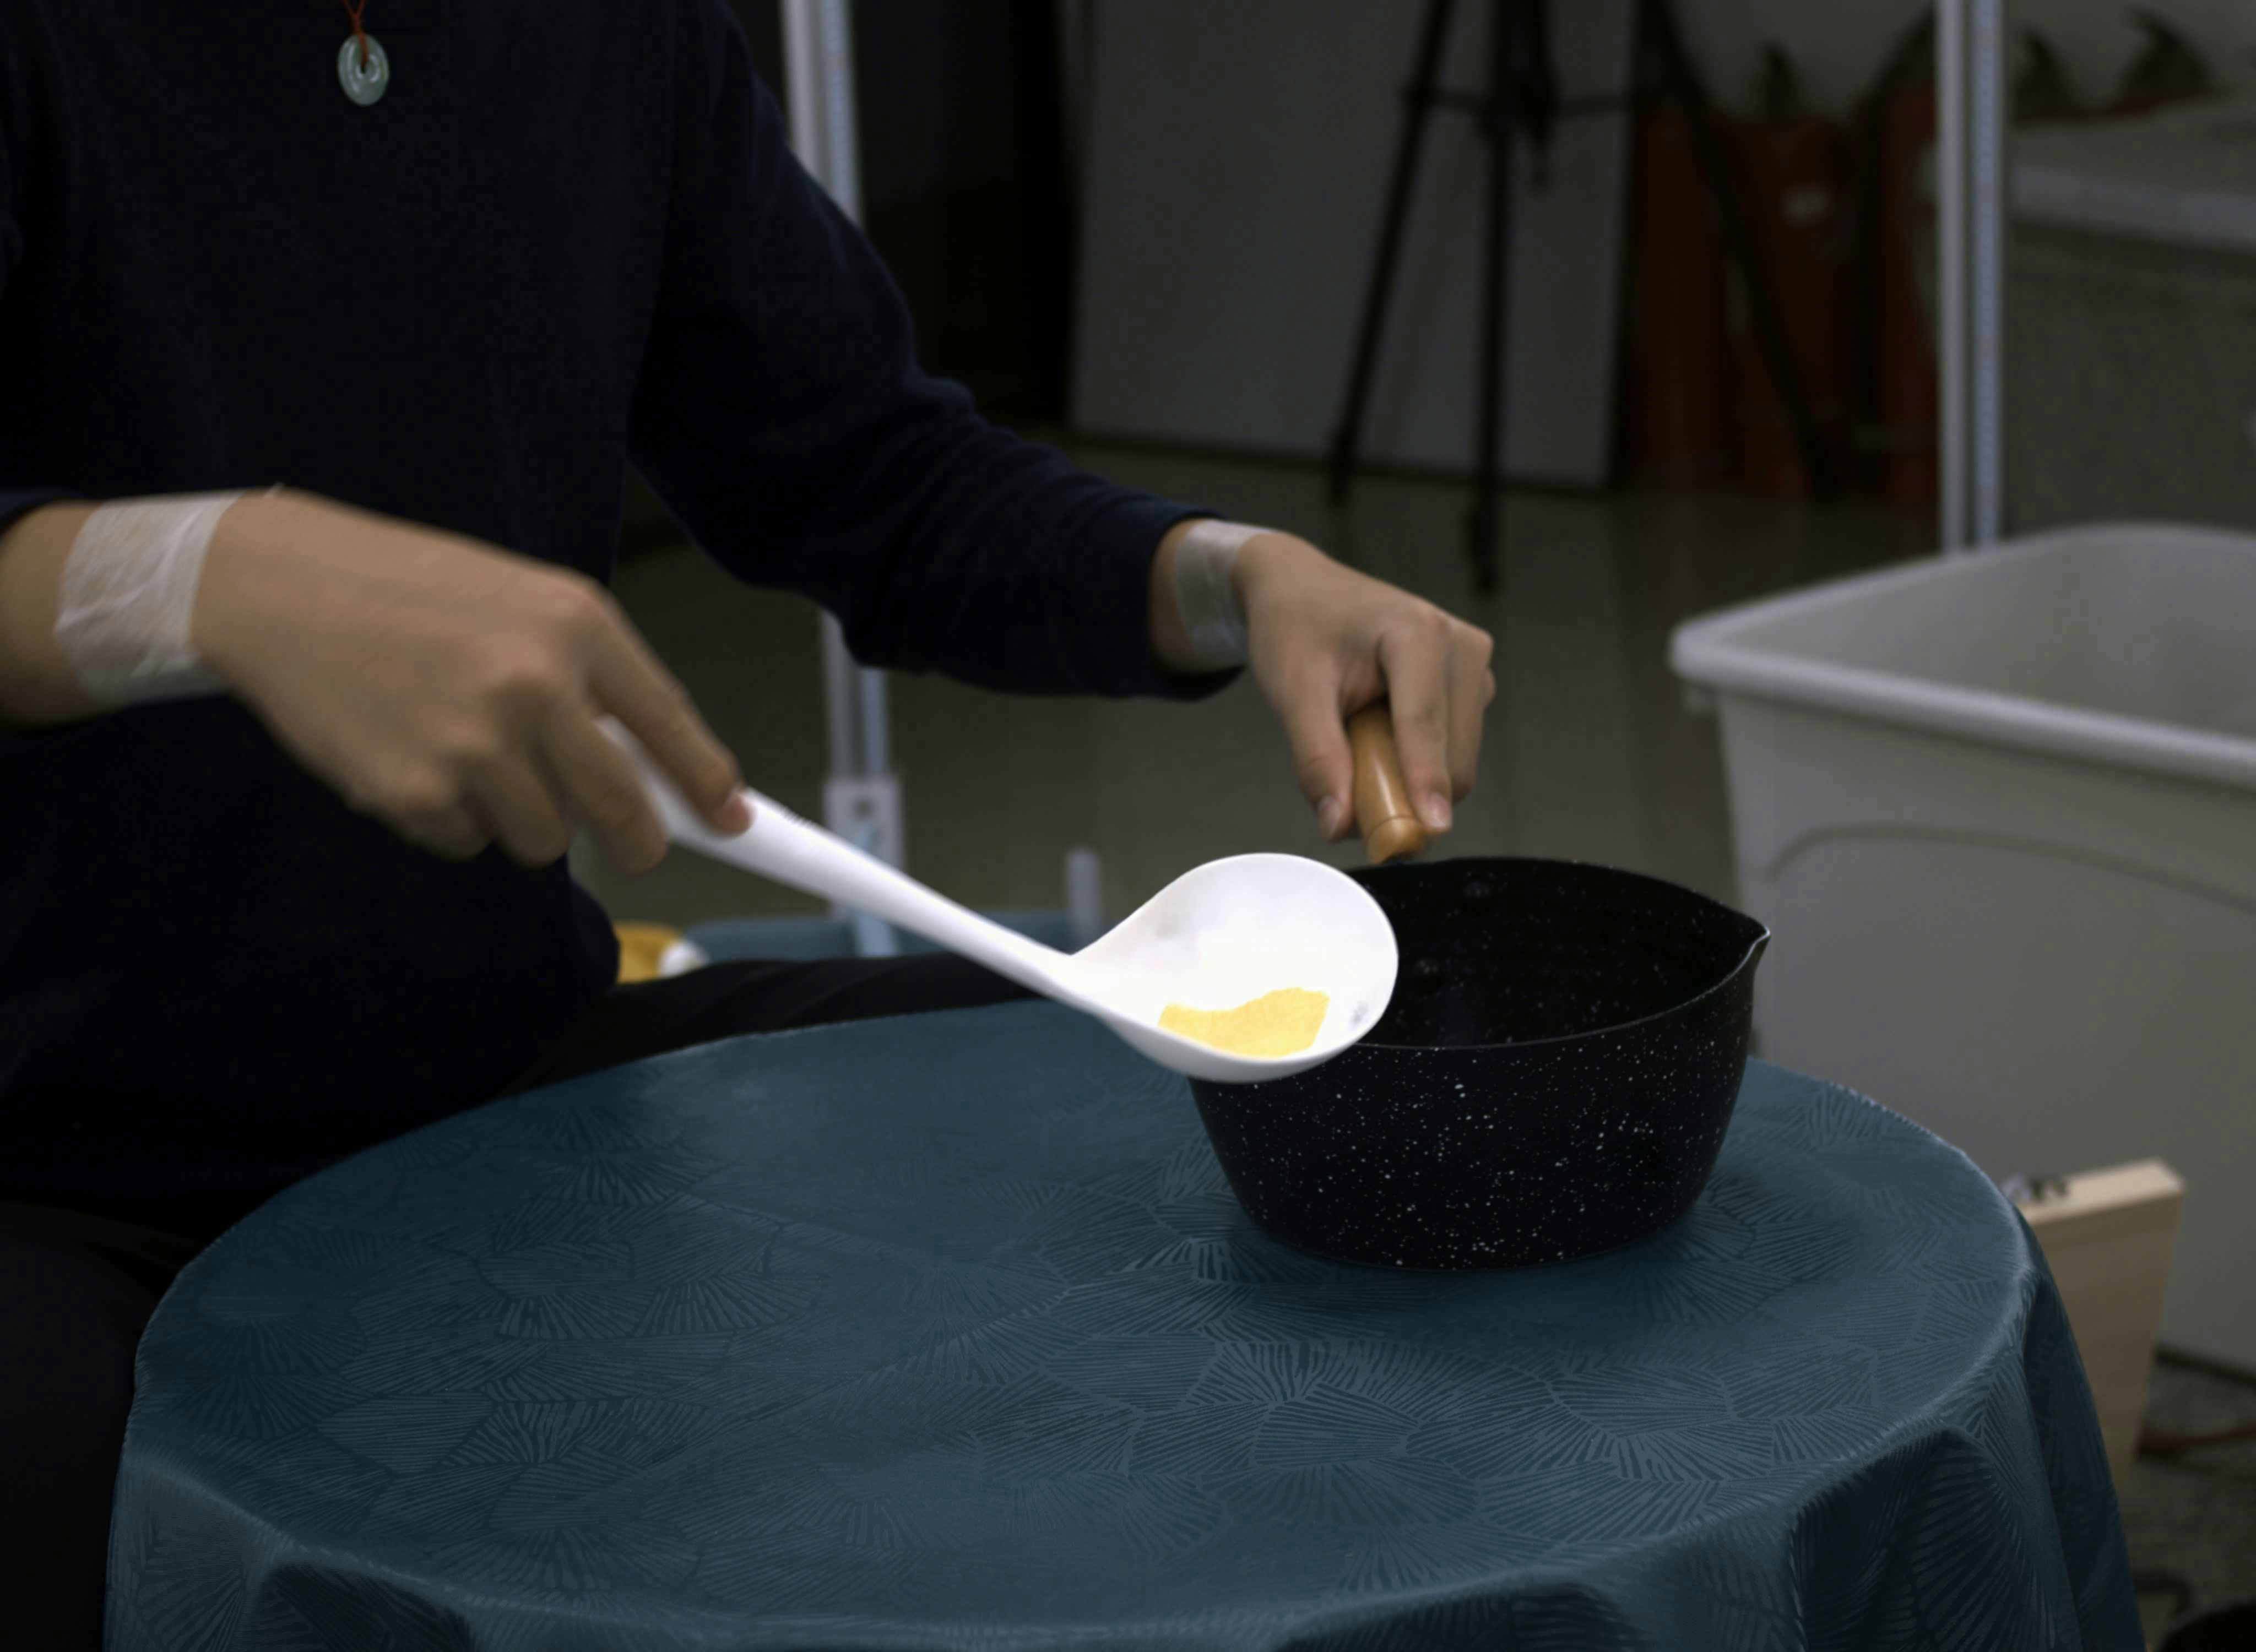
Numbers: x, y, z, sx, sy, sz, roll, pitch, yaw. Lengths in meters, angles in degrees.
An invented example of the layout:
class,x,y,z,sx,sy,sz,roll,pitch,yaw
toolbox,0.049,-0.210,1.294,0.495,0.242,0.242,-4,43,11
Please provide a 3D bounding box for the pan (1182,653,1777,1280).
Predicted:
class,x,y,z,sx,sy,sz,roll,pitch,yaw
pan,0.099,0.042,1.797,0.204,0.109,0.344,-6,19,-4

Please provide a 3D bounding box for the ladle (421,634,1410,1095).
class,x,y,z,sx,sy,sz,roll,pitch,yaw
ladle,-0.054,0.004,1.503,0.287,0.070,0.091,24,39,-27
